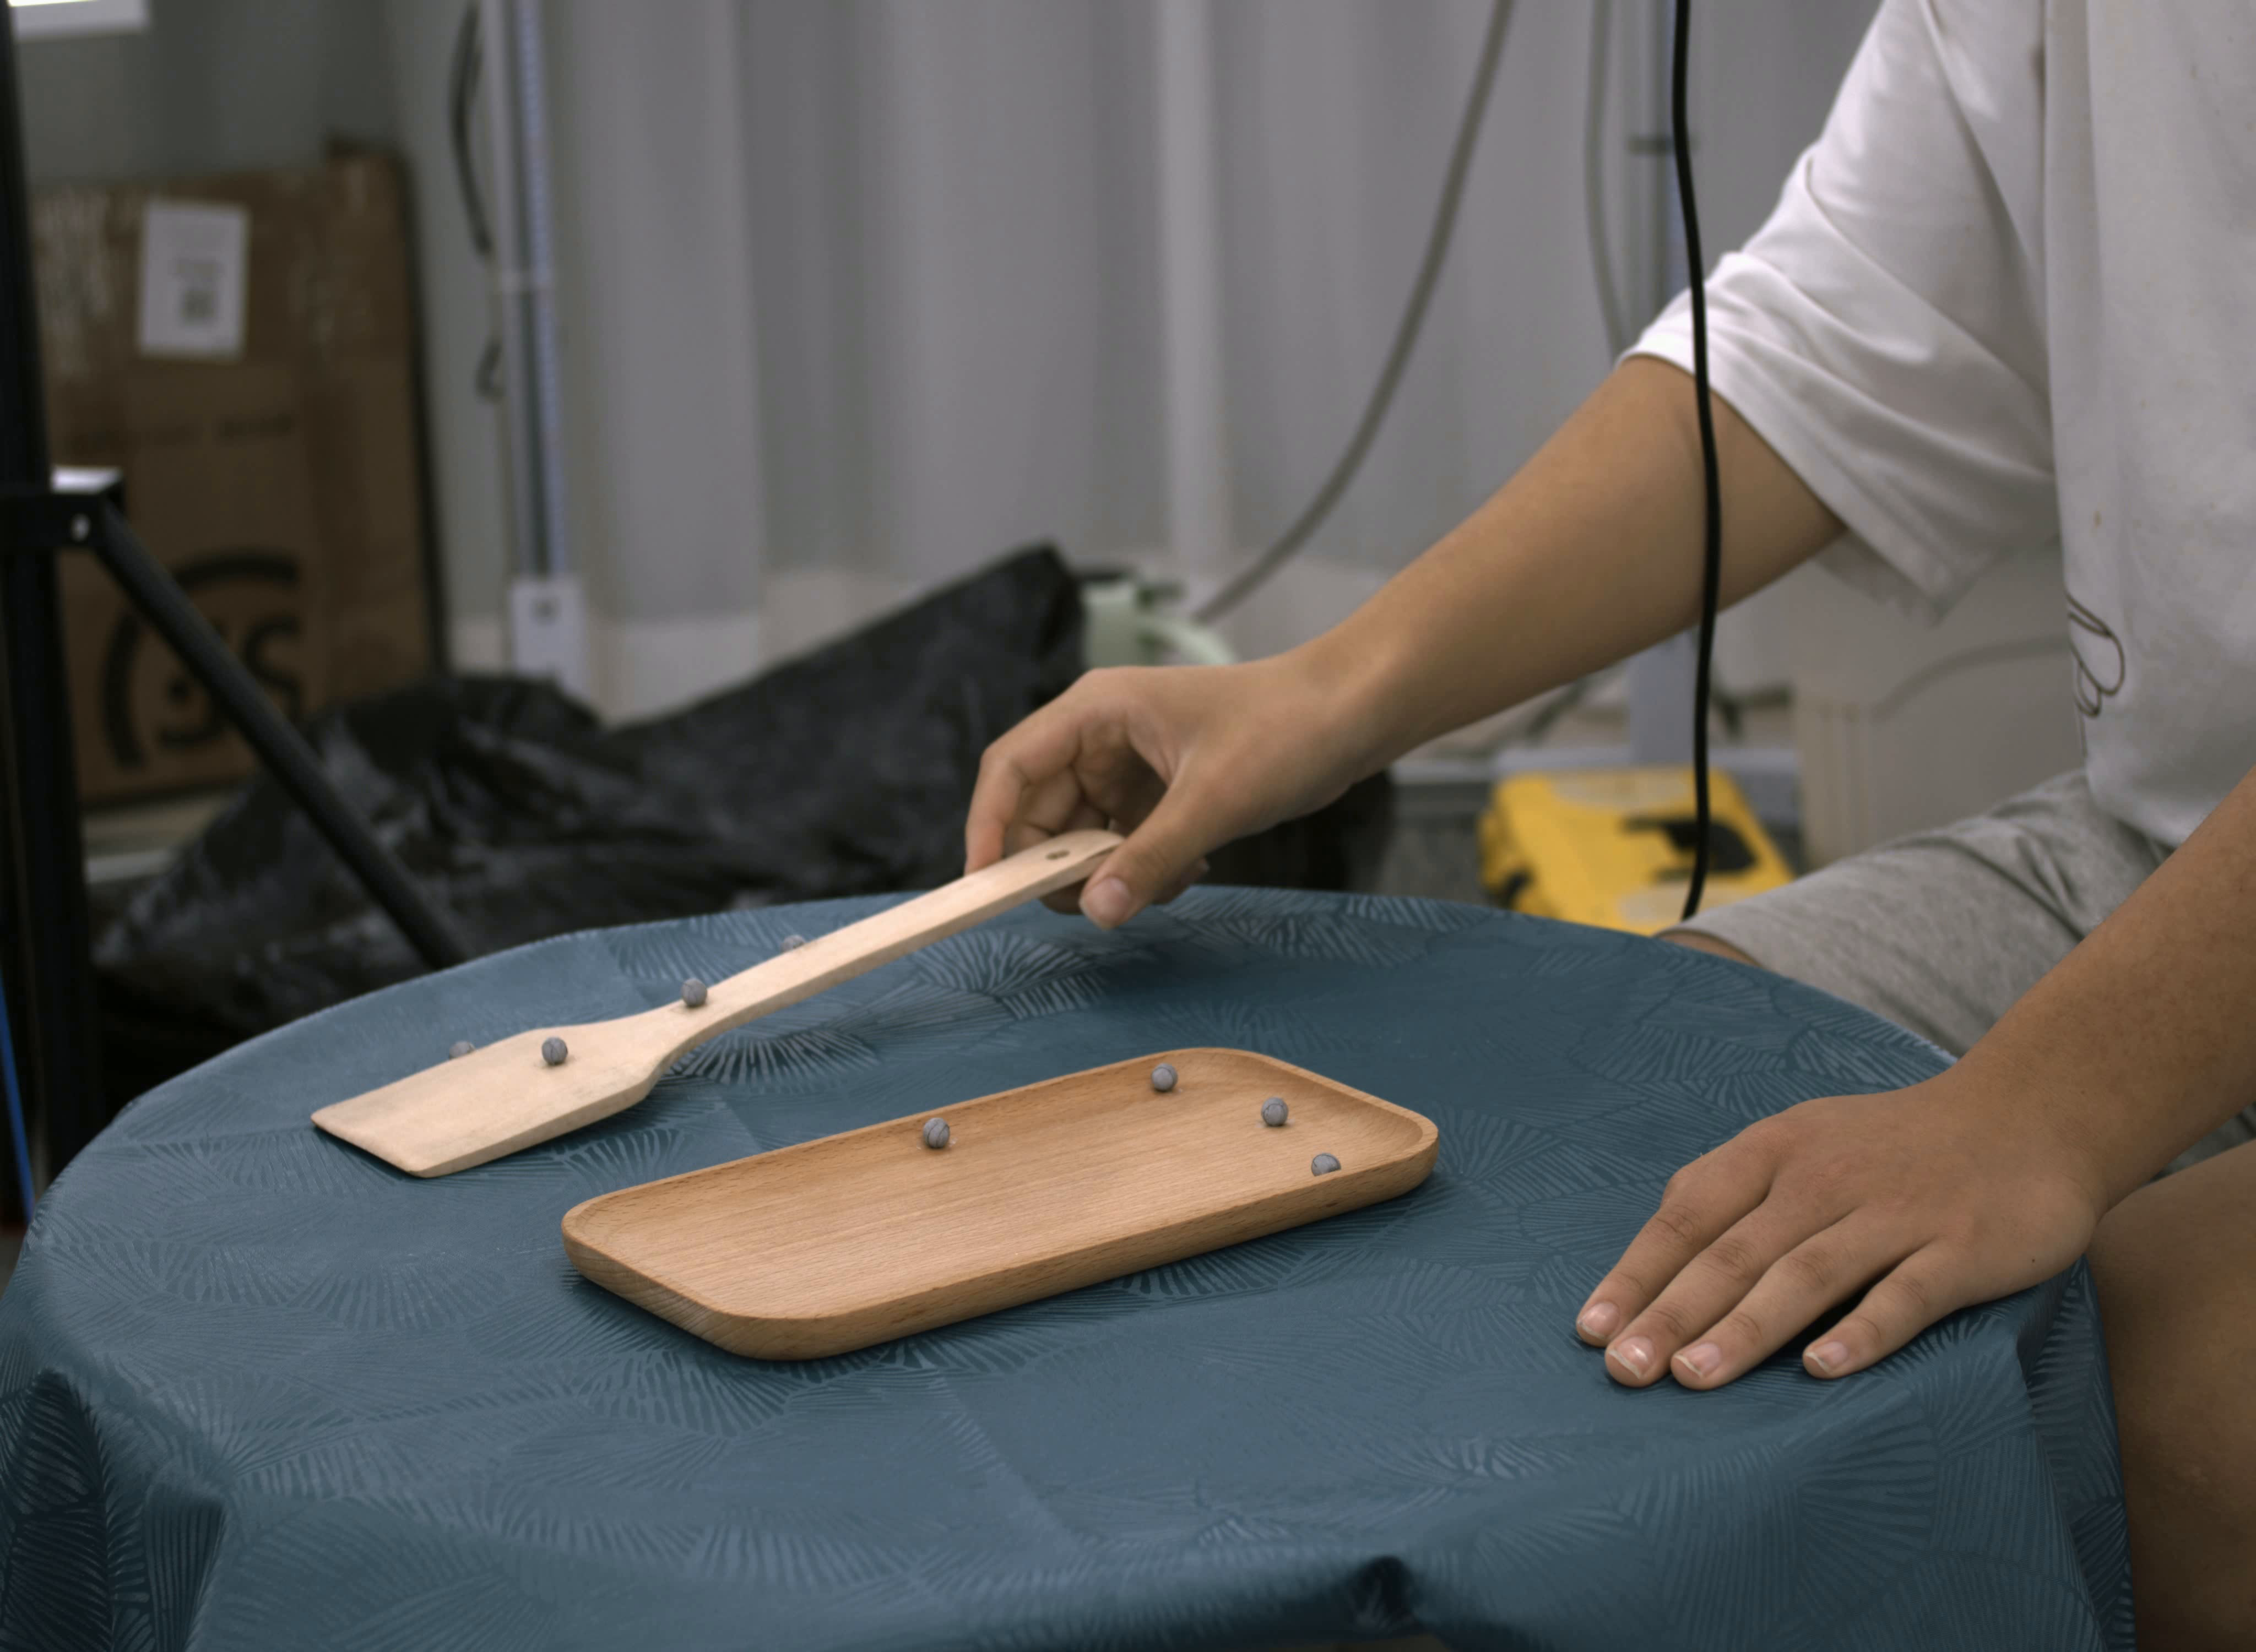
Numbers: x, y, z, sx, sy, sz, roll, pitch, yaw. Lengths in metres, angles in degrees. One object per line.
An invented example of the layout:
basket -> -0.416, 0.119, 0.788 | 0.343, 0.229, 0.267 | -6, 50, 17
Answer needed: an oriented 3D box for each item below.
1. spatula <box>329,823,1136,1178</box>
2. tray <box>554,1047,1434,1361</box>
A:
spatula -> -0.116, 0.051, 1.697 | 0.287, 0.010, 0.074 | -23, 24, -30
tray -> -0.036, 0.107, 1.538 | 0.245, 0.023, 0.133 | -13, 17, -32
